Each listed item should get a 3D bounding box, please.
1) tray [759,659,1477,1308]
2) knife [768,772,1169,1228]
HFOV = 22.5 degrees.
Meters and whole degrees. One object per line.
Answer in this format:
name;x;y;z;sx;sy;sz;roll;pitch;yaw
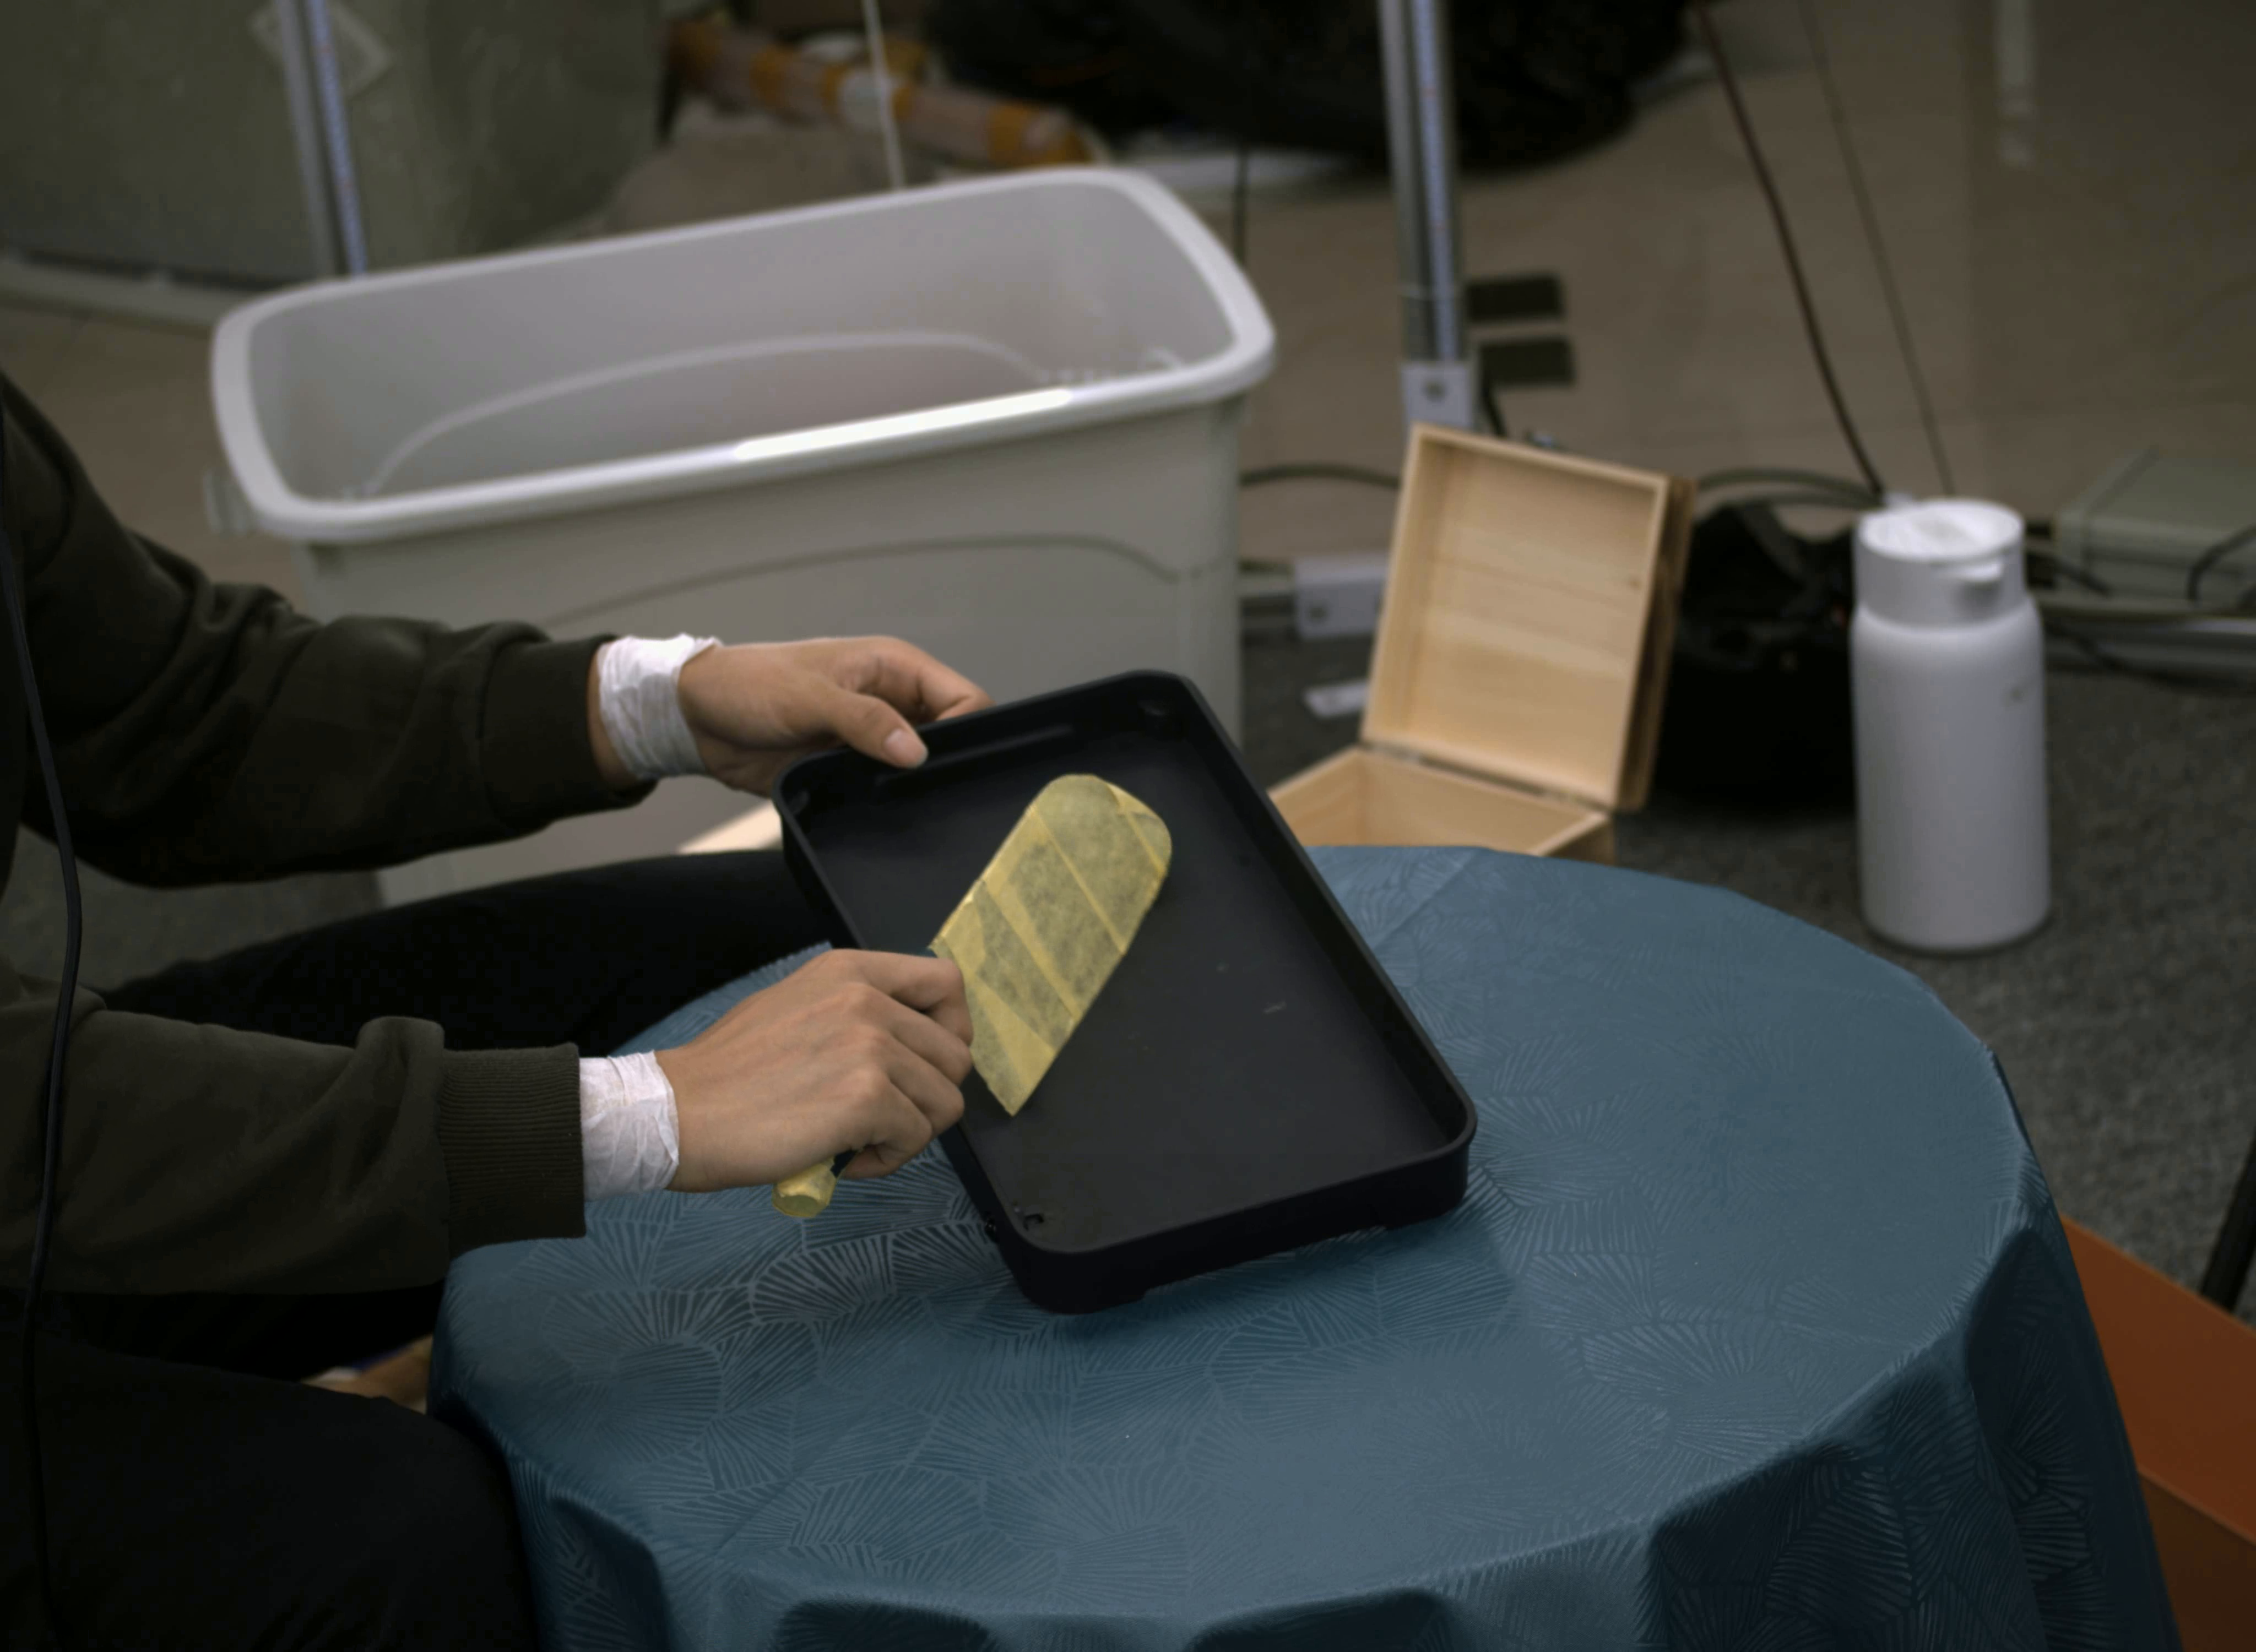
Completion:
tray;-0.008;0.055;2.193;0.183;0.038;0.313;-17;42;-16
knife;-0.054;0.069;2.147;0.027;0.082;0.285;-17;23;41
